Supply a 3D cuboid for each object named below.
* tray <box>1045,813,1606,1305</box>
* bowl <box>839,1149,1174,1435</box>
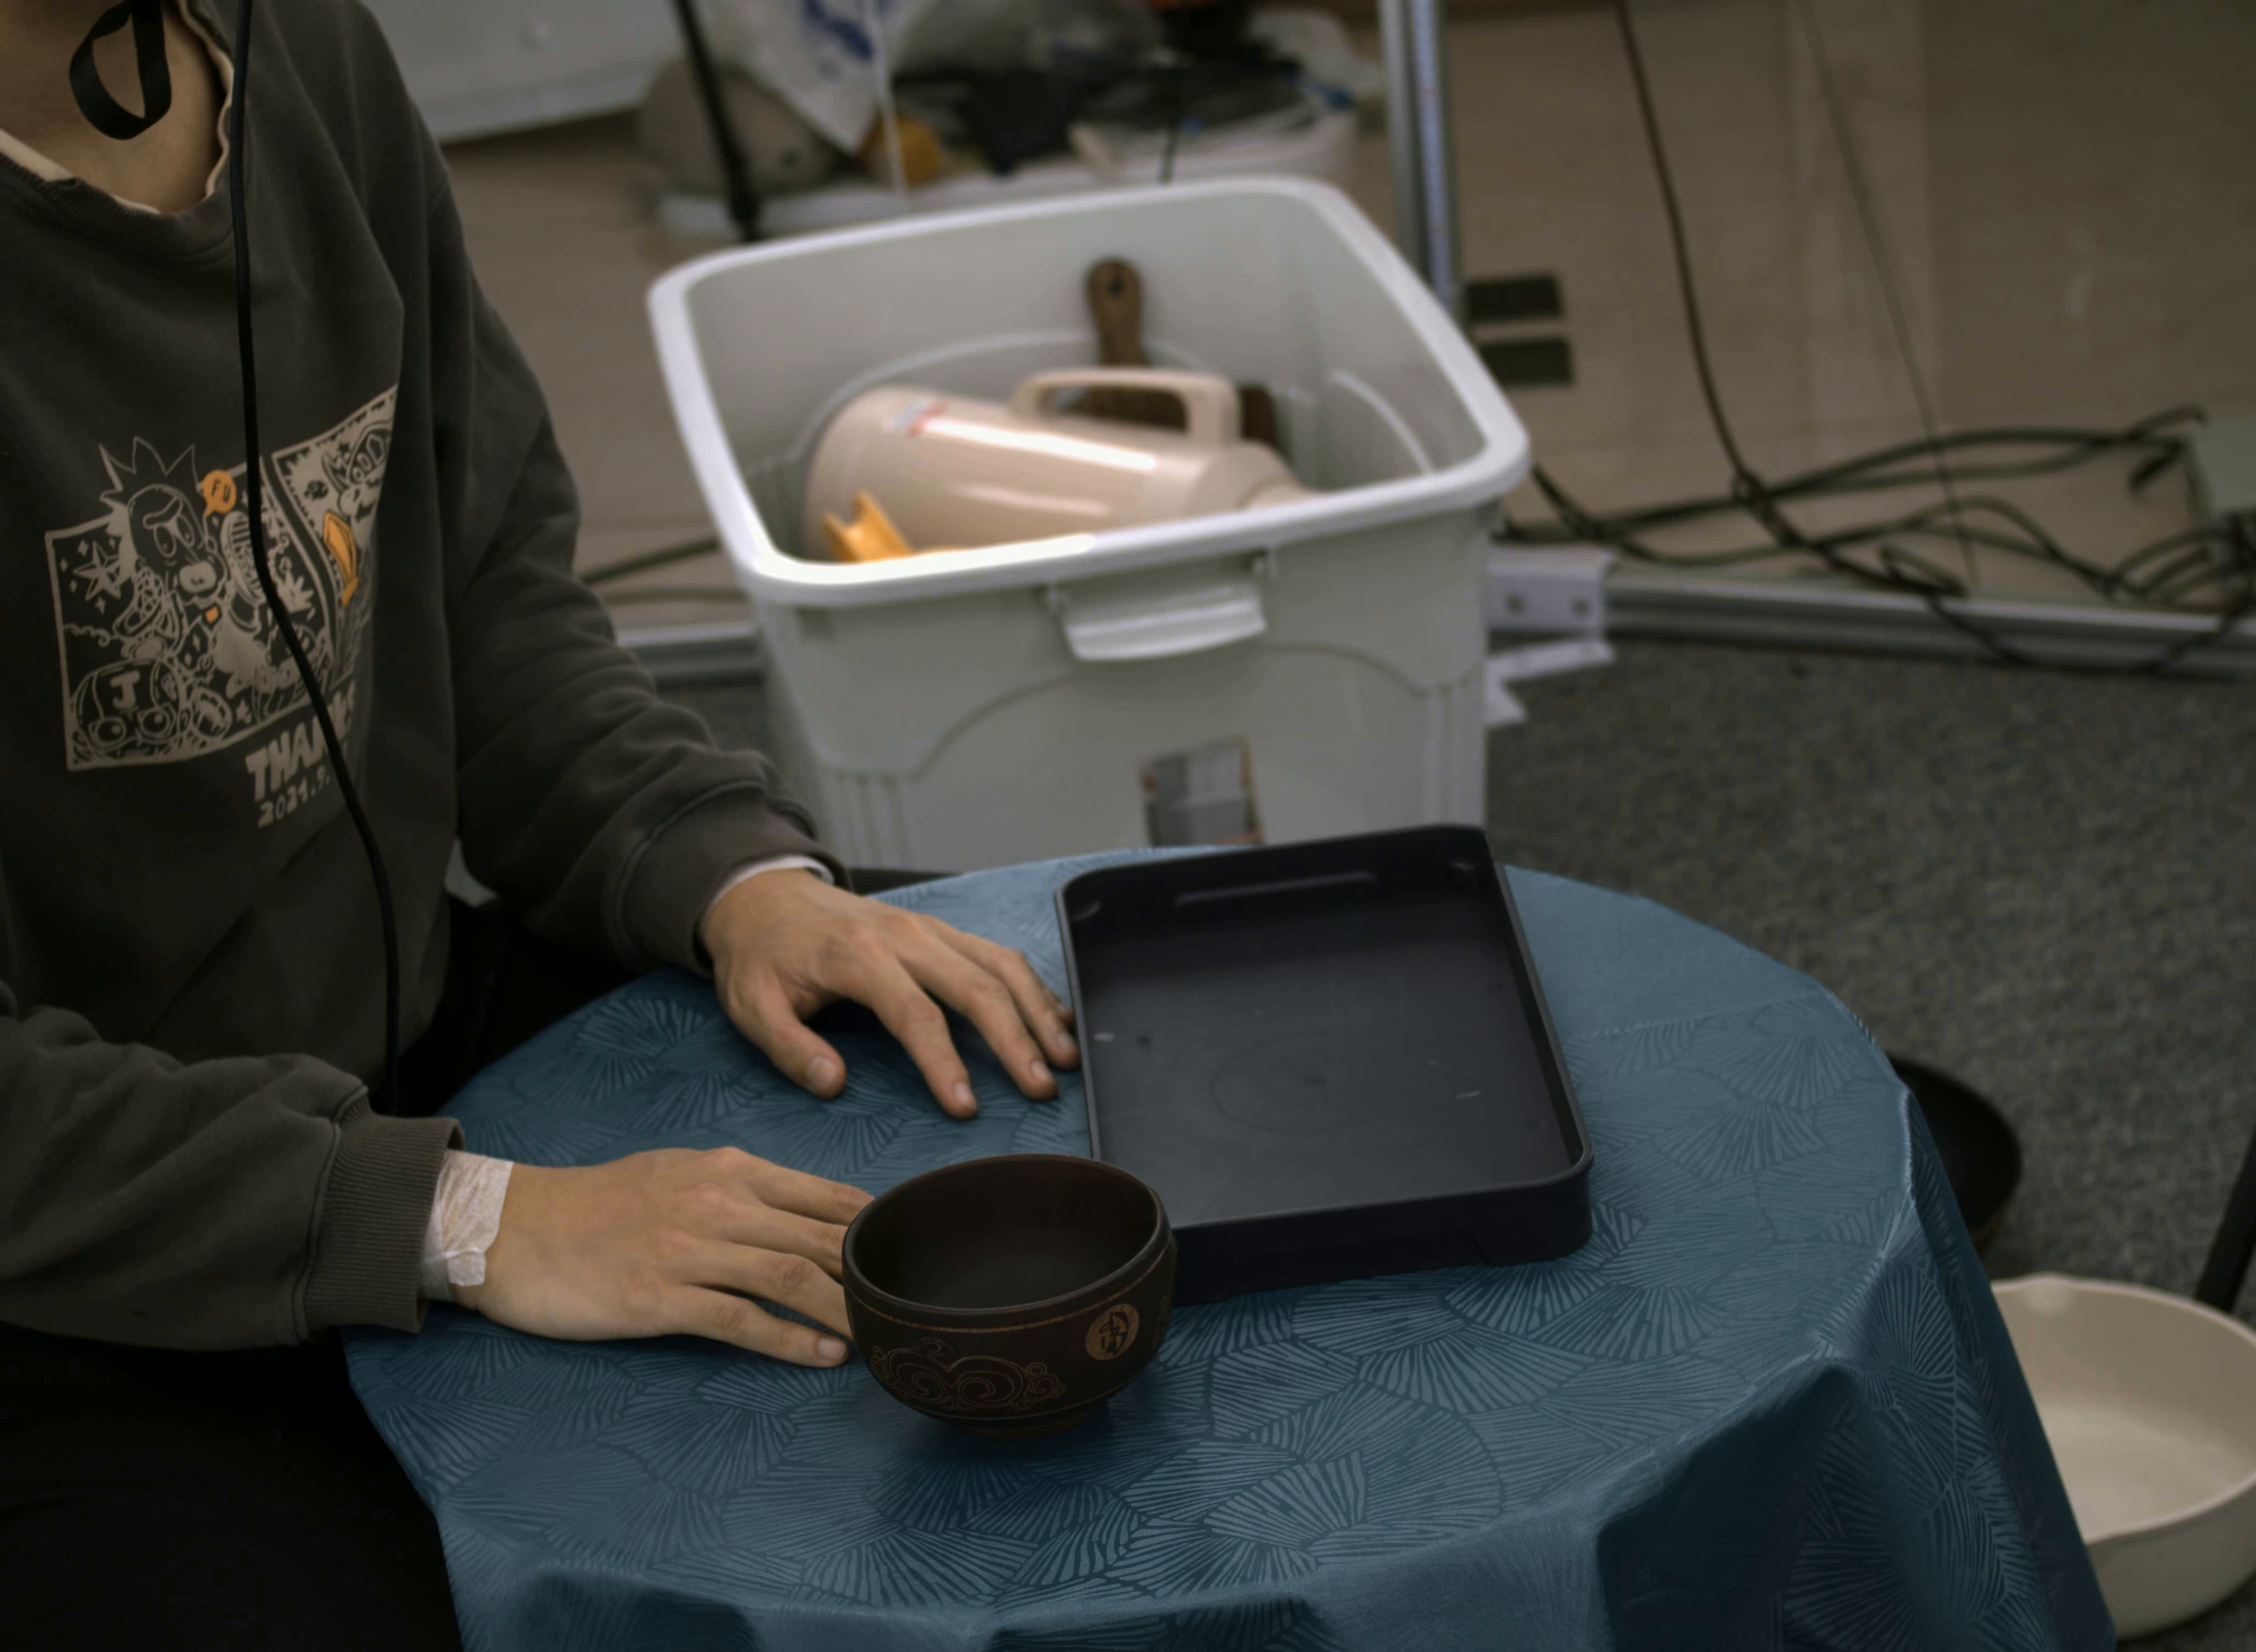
[{"bbox_3d":[0.072,0.085,2.202,0.184,0.037,0.313,-9,25,-2],"label":"tray"},{"bbox_3d":[-0.041,0.171,2.002,0.118,0.071,0.116,-7,24,3],"label":"bowl"}]
